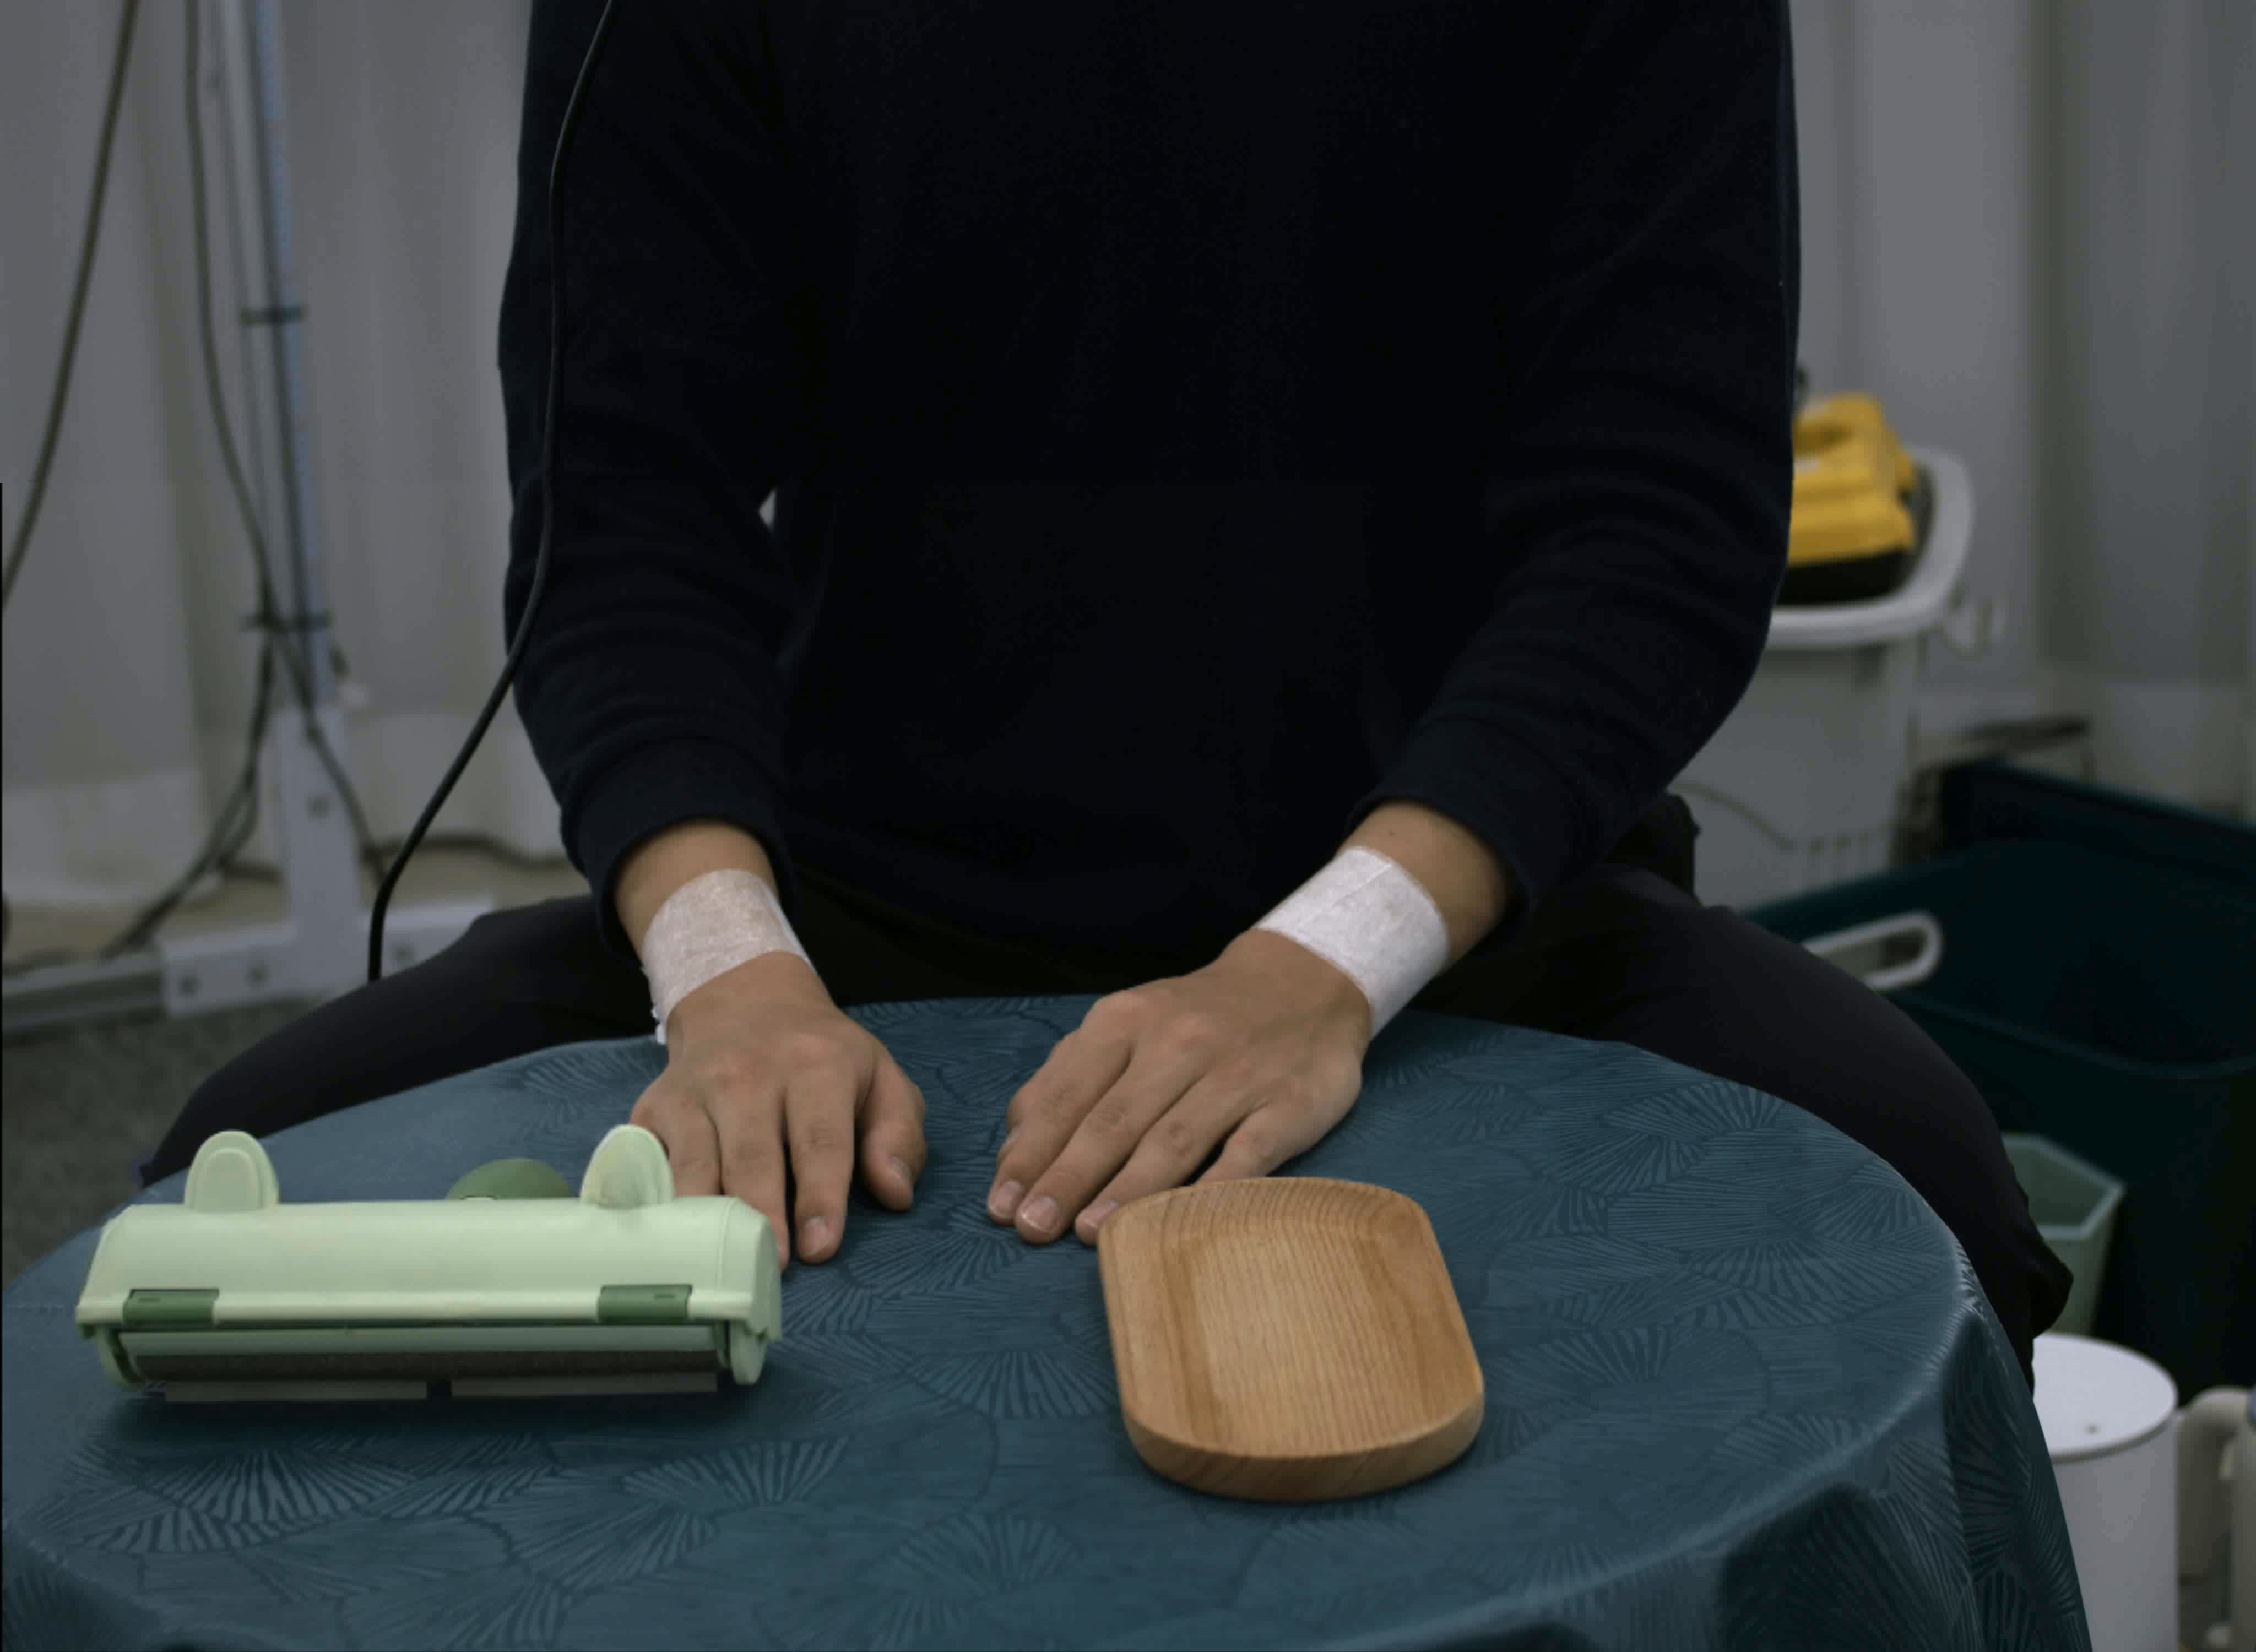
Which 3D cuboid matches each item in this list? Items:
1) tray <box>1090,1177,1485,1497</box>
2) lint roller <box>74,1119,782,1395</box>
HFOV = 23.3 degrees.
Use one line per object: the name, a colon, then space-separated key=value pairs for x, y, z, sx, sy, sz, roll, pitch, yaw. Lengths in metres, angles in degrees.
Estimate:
tray: x=0.044 y=0.144 z=1.567 sx=0.101 sy=0.020 sz=0.233 roll=-3 pitch=14 yaw=-3
lint roller: x=-0.195 y=0.107 z=1.616 sx=0.198 sy=0.081 sz=0.185 roll=-1 pitch=21 yaw=5
